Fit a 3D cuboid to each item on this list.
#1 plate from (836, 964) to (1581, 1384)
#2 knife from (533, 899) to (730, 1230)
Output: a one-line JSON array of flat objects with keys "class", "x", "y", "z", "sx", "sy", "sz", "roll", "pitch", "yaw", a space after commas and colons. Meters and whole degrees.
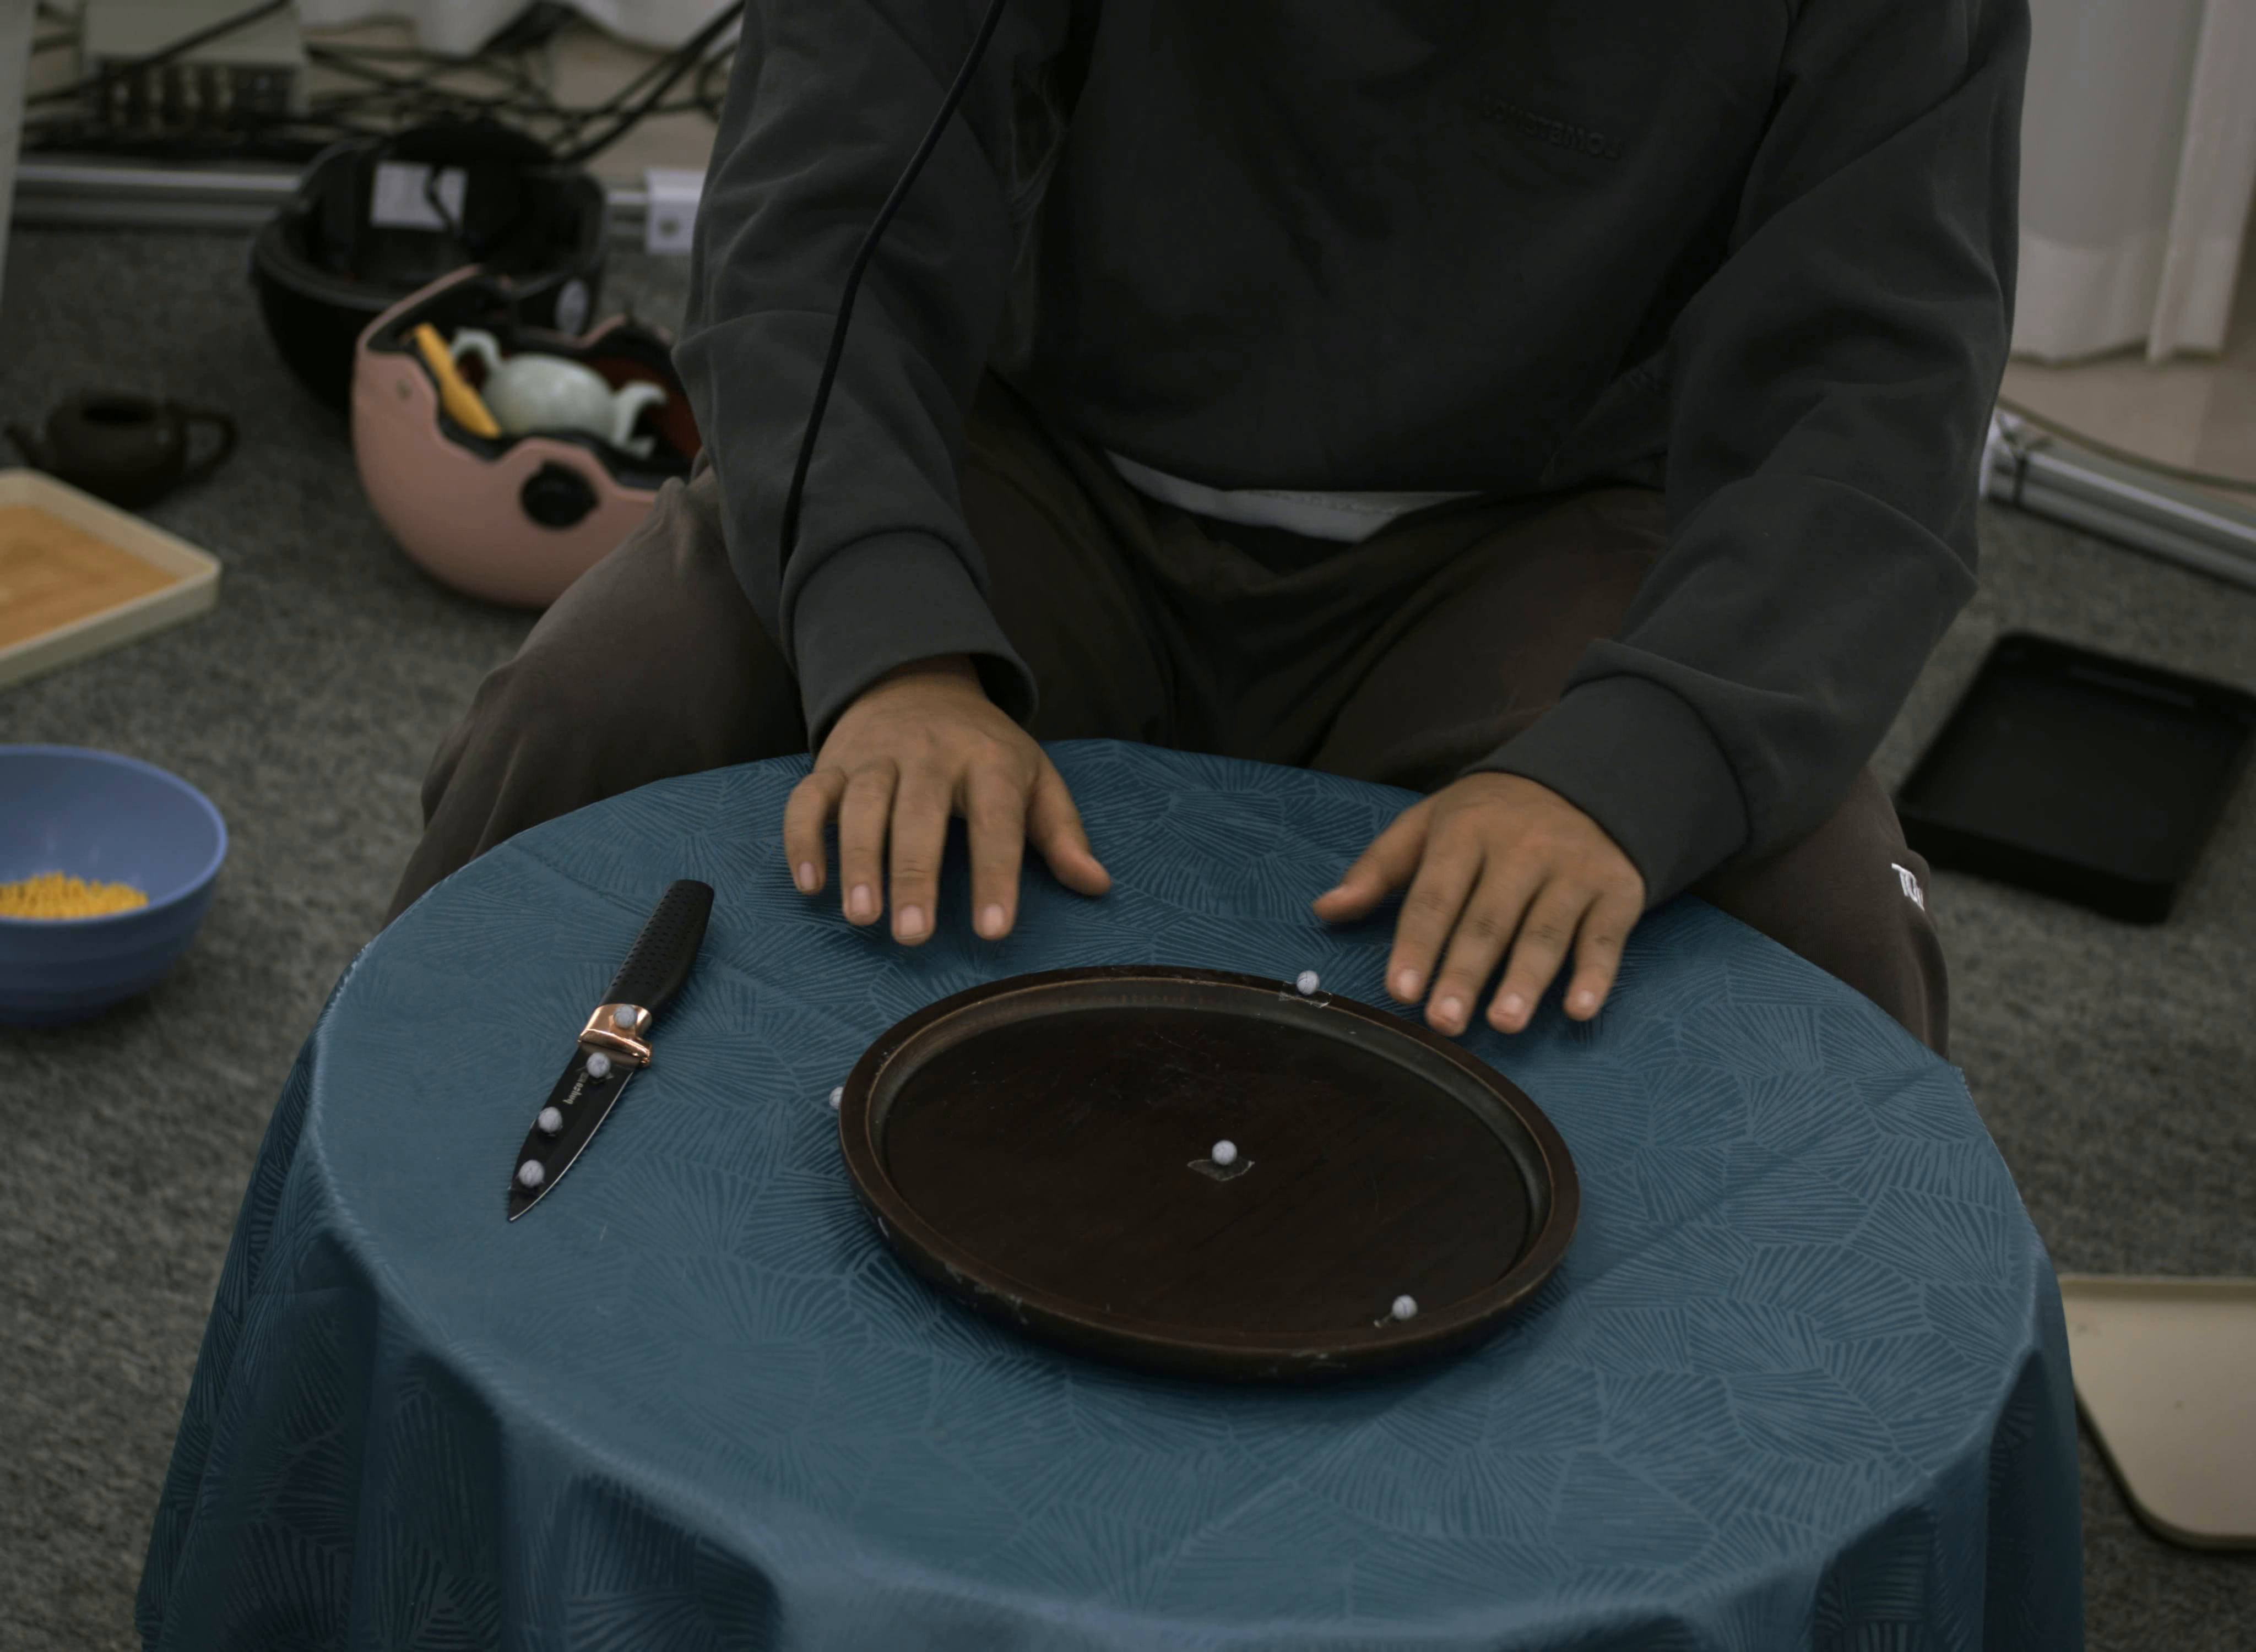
[{"class": "plate", "x": 0.027, "y": 0.116, "z": 1.802, "sx": 0.254, "sy": 0.029, "sz": 0.256, "roll": 5, "pitch": 26, "yaw": -3}, {"class": "knife", "x": -0.175, "y": 0.080, "z": 1.839, "sx": 0.026, "sy": 0.017, "sz": 0.226, "roll": 16, "pitch": 28, "yaw": 5}]
